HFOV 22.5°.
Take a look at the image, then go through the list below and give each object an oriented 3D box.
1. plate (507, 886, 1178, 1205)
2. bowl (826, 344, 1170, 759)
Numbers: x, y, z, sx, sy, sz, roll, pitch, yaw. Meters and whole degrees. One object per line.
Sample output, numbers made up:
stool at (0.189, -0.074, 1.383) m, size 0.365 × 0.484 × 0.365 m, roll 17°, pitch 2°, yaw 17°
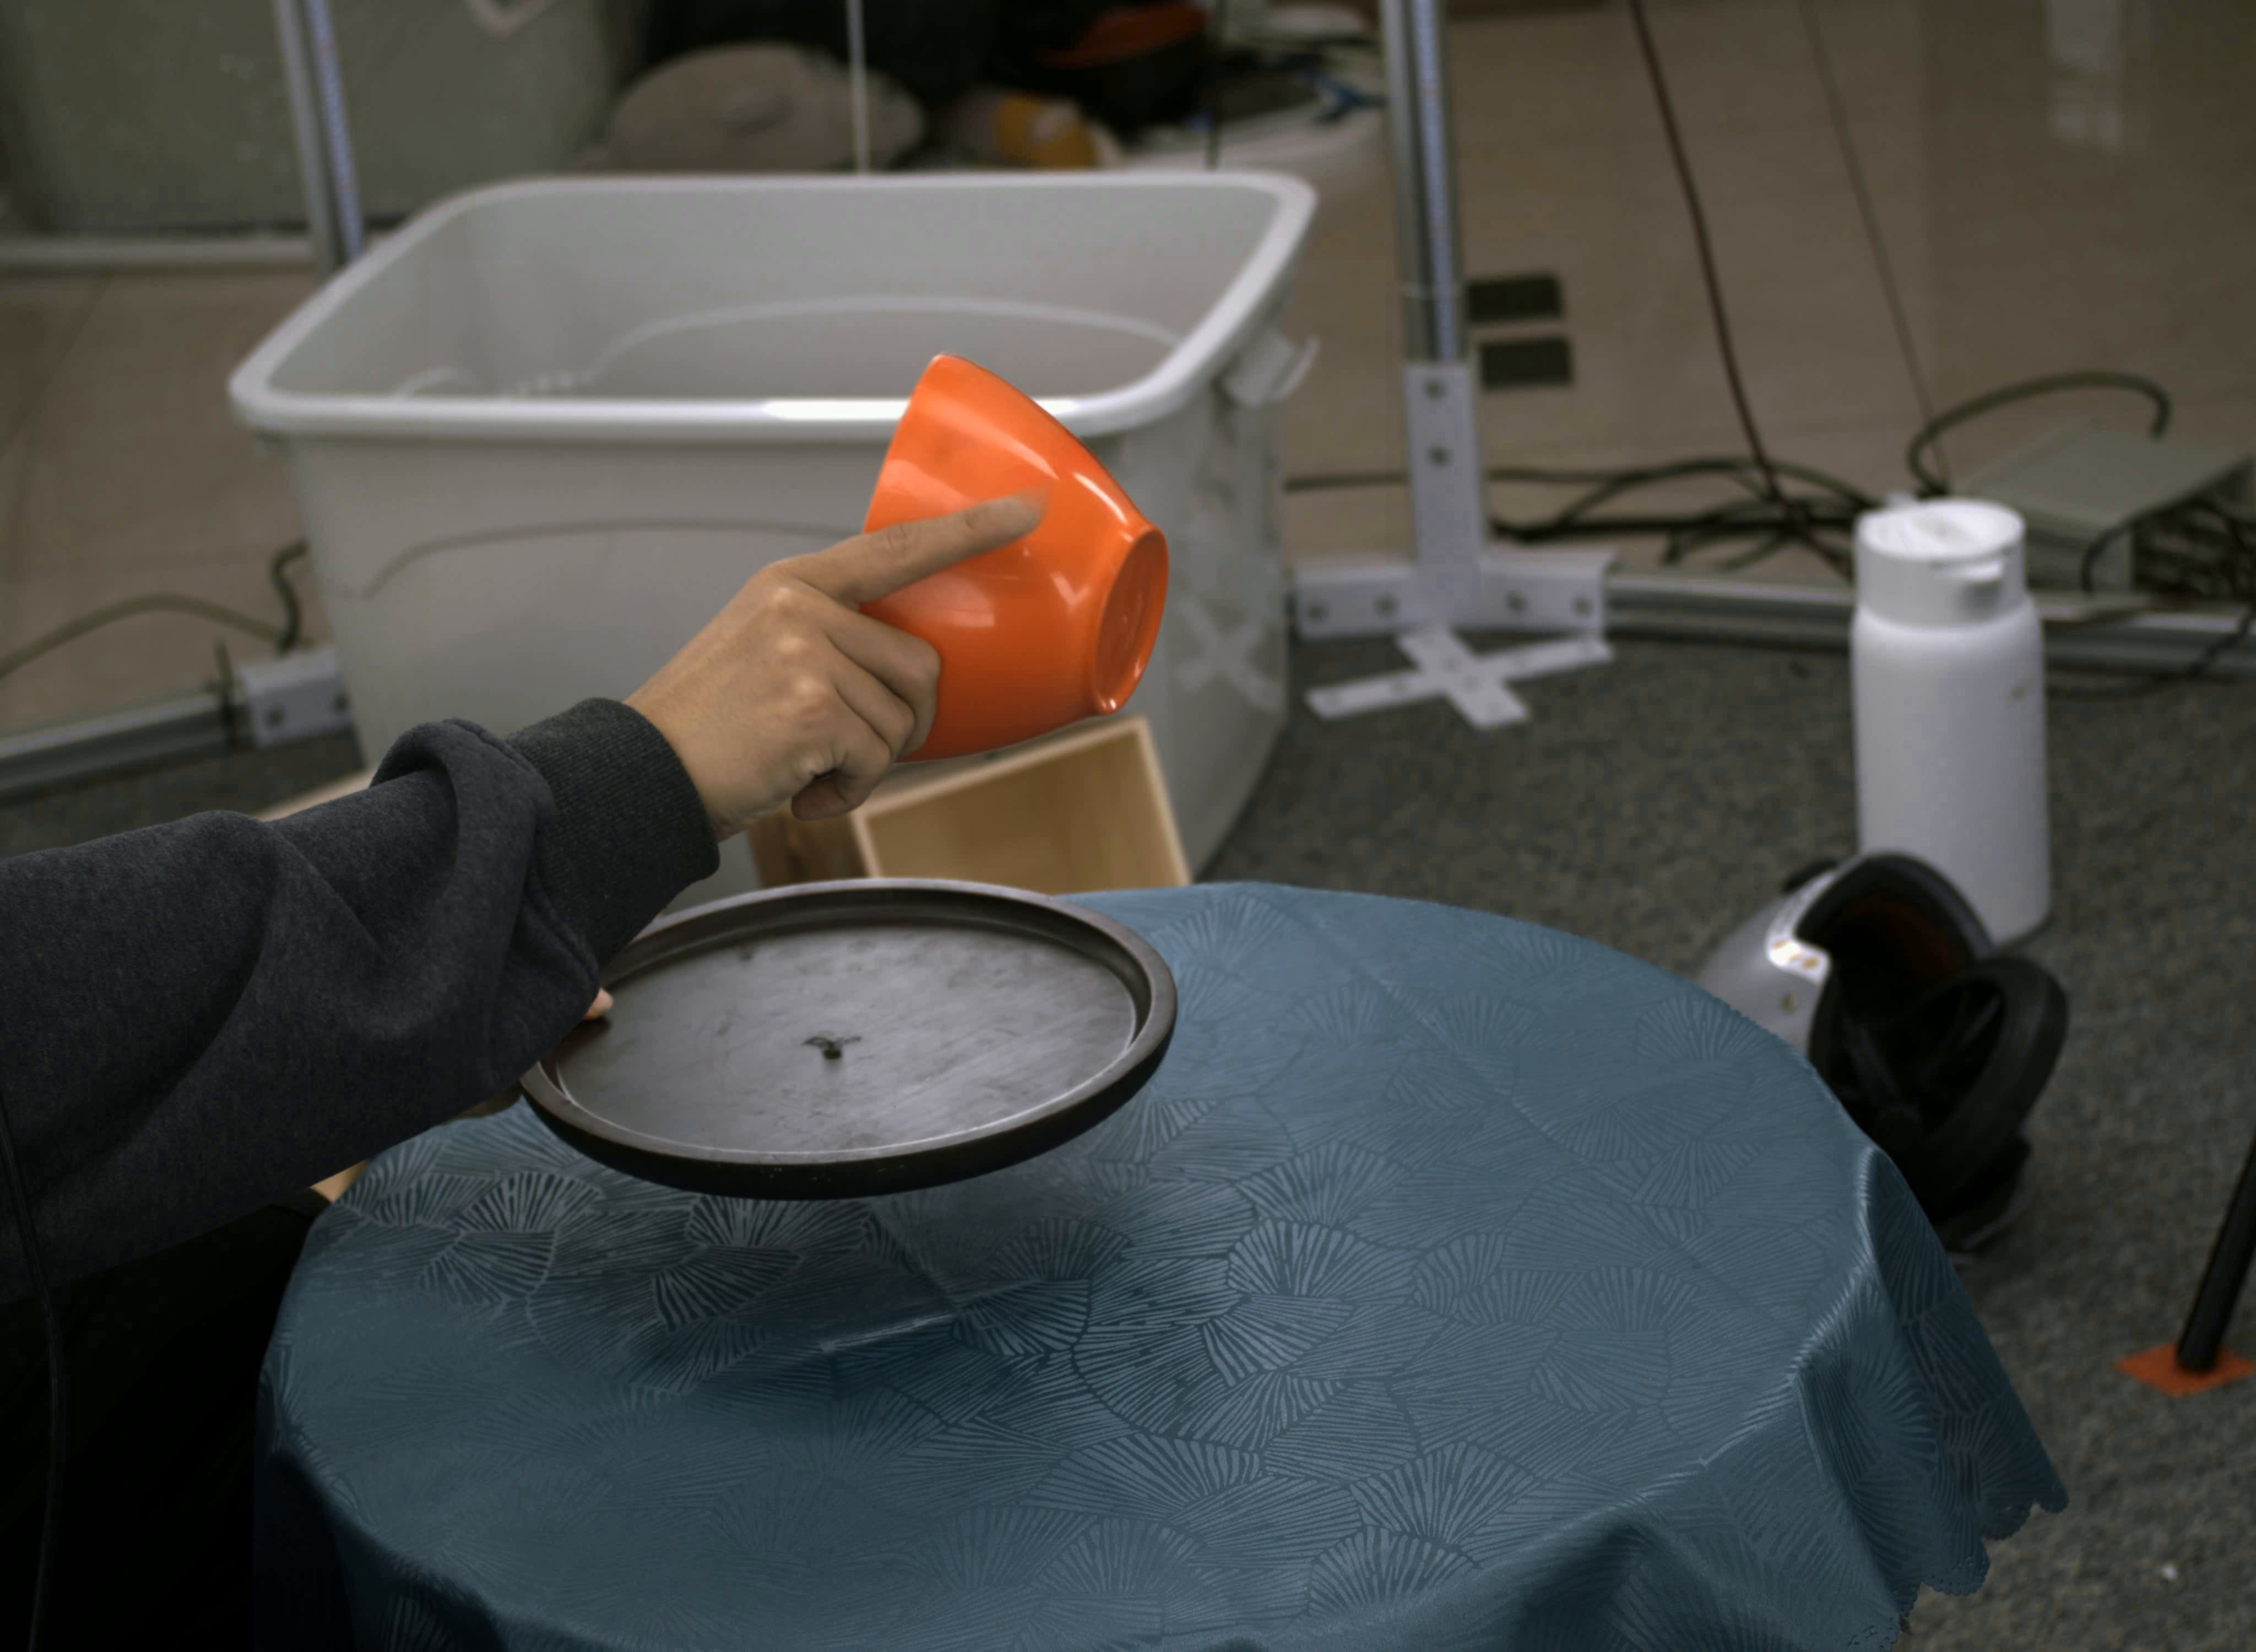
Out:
plate at (-0.107, 0.080, 2.134) m, size 0.254 × 0.029 × 0.251 m, roll -3°, pitch 25°, yaw 1°
bowl at (-0.042, -0.084, 1.940) m, size 0.104 × 0.150 × 0.146 m, roll 17°, pitch 31°, yaw 17°
